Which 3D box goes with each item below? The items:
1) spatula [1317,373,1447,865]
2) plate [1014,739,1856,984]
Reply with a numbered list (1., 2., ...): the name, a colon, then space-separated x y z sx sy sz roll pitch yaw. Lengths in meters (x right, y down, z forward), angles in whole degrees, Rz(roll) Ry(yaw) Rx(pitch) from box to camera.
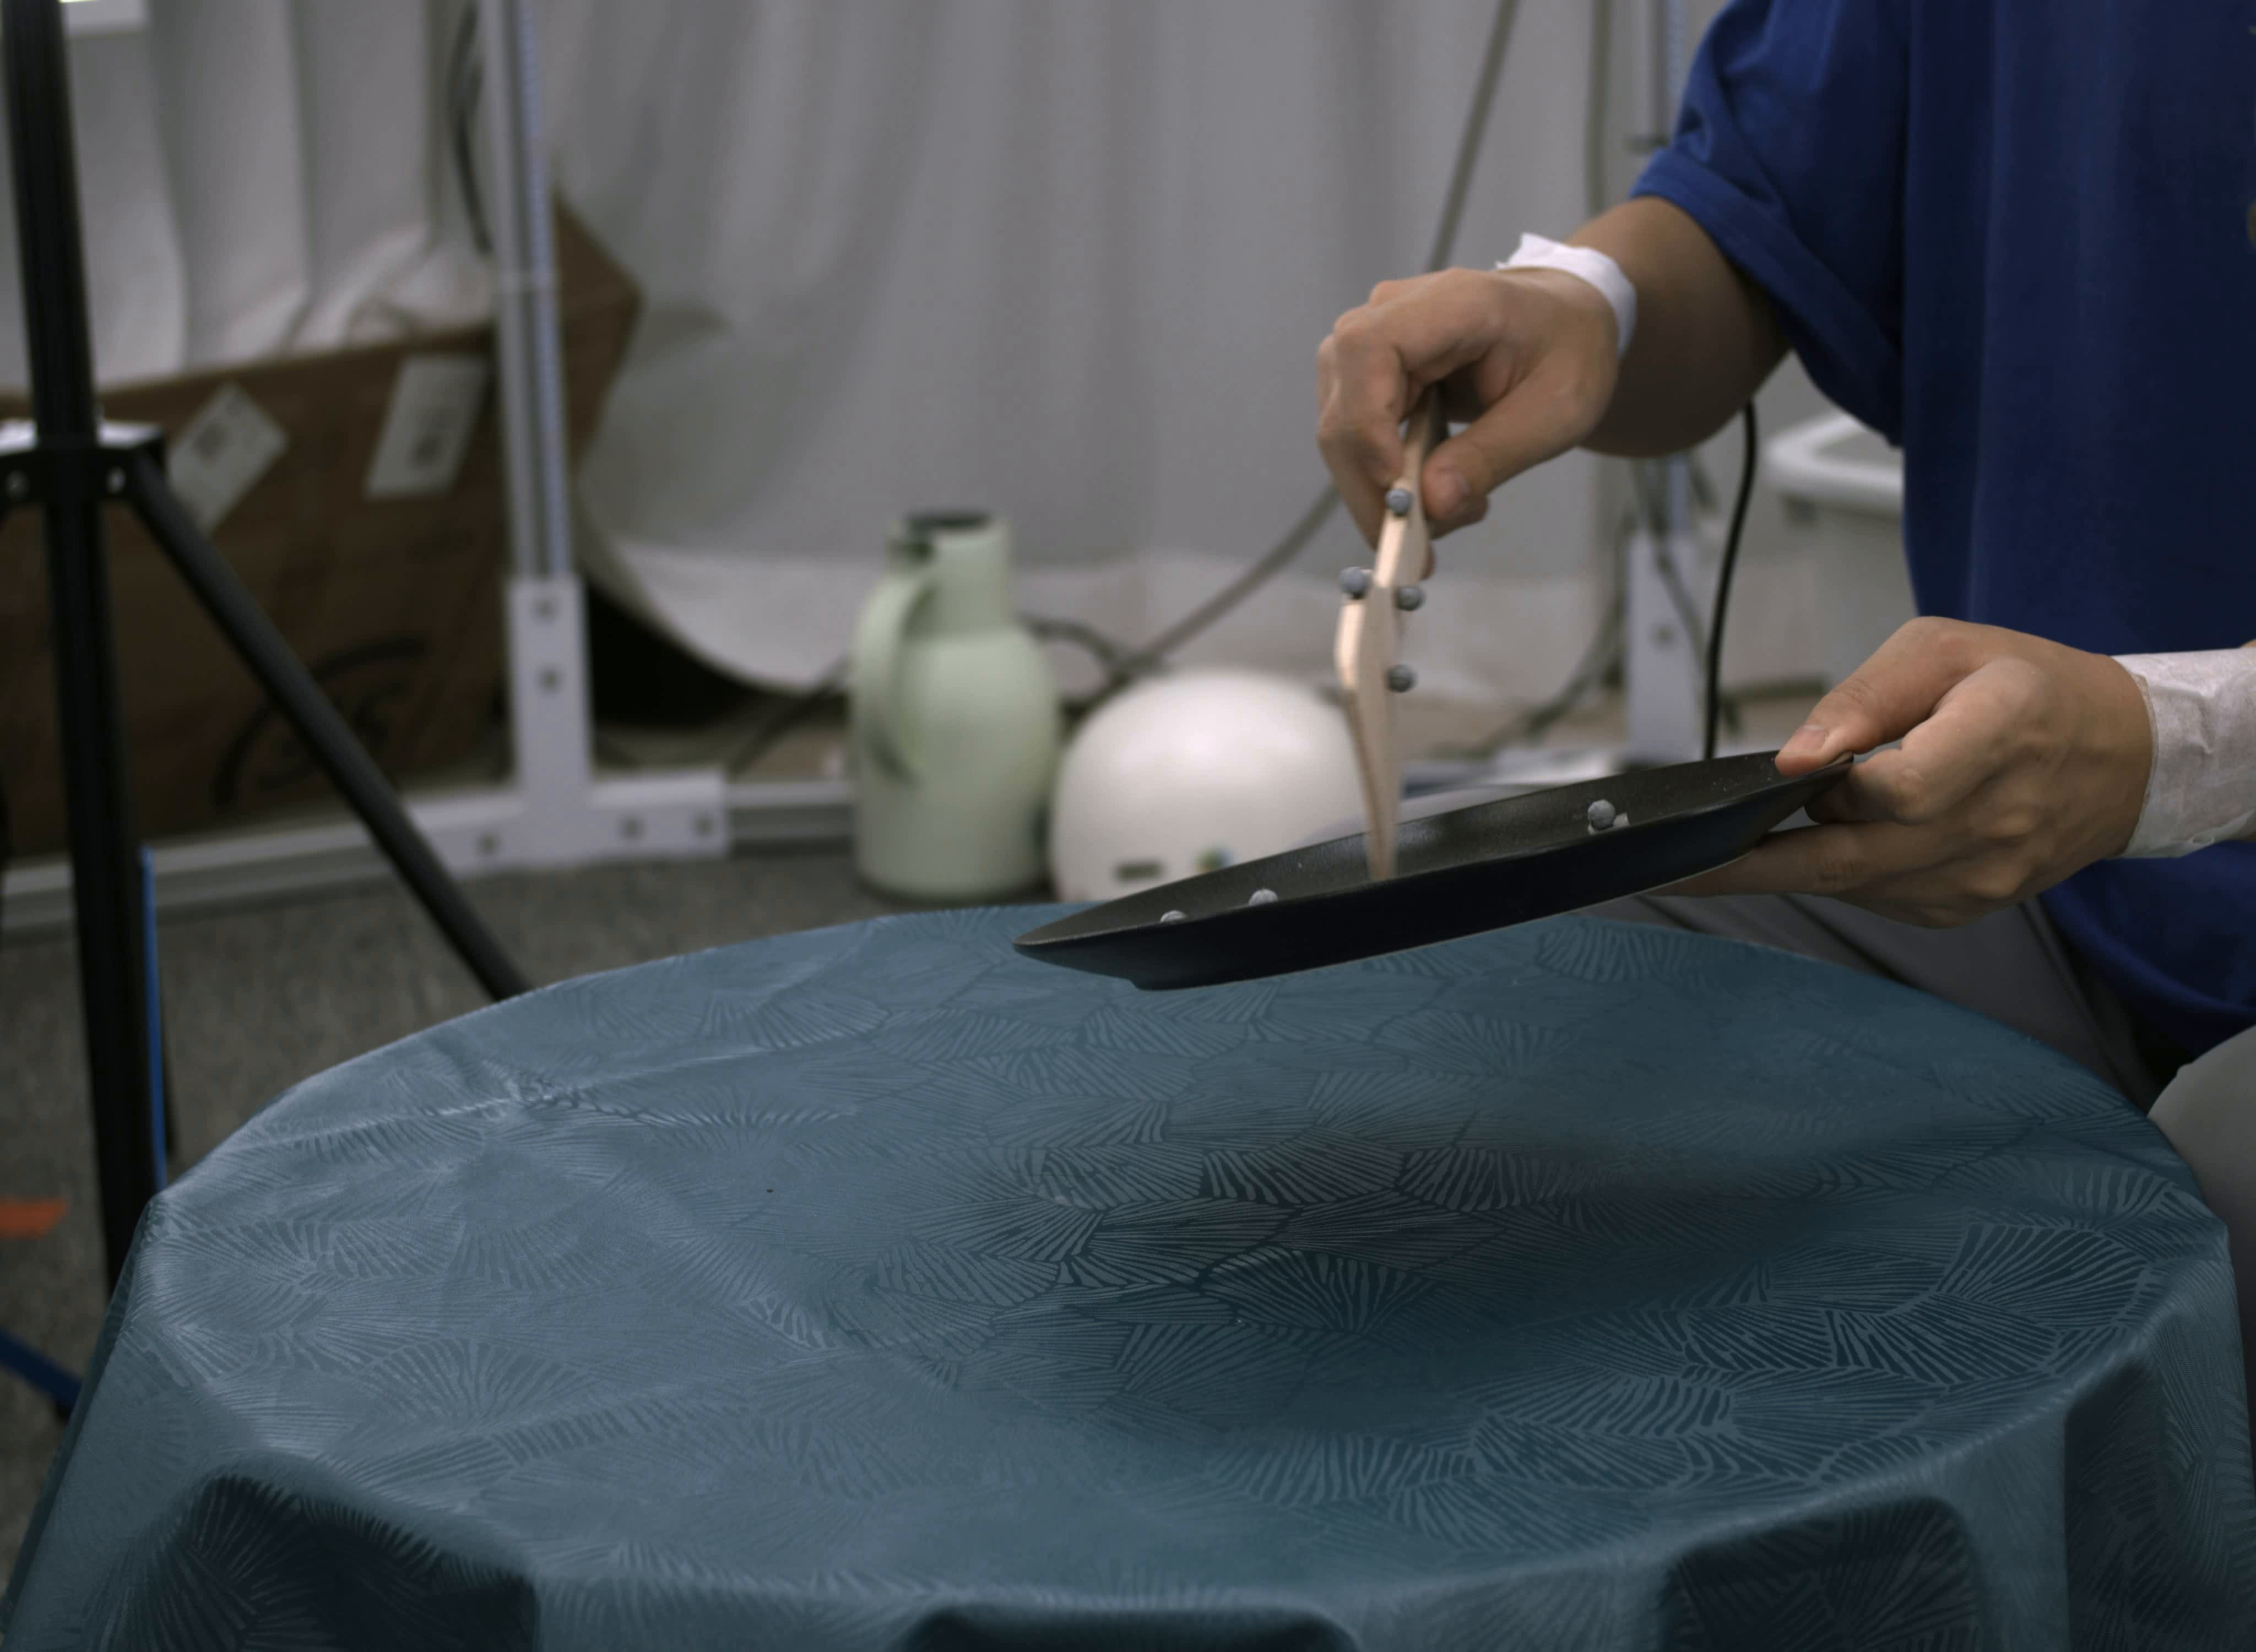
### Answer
1. spatula: 0.080 -0.076 1.653 0.011 0.072 0.293 -5 26 12
2. plate: 0.088 0.013 1.498 0.243 0.023 0.244 -13 2 -1
